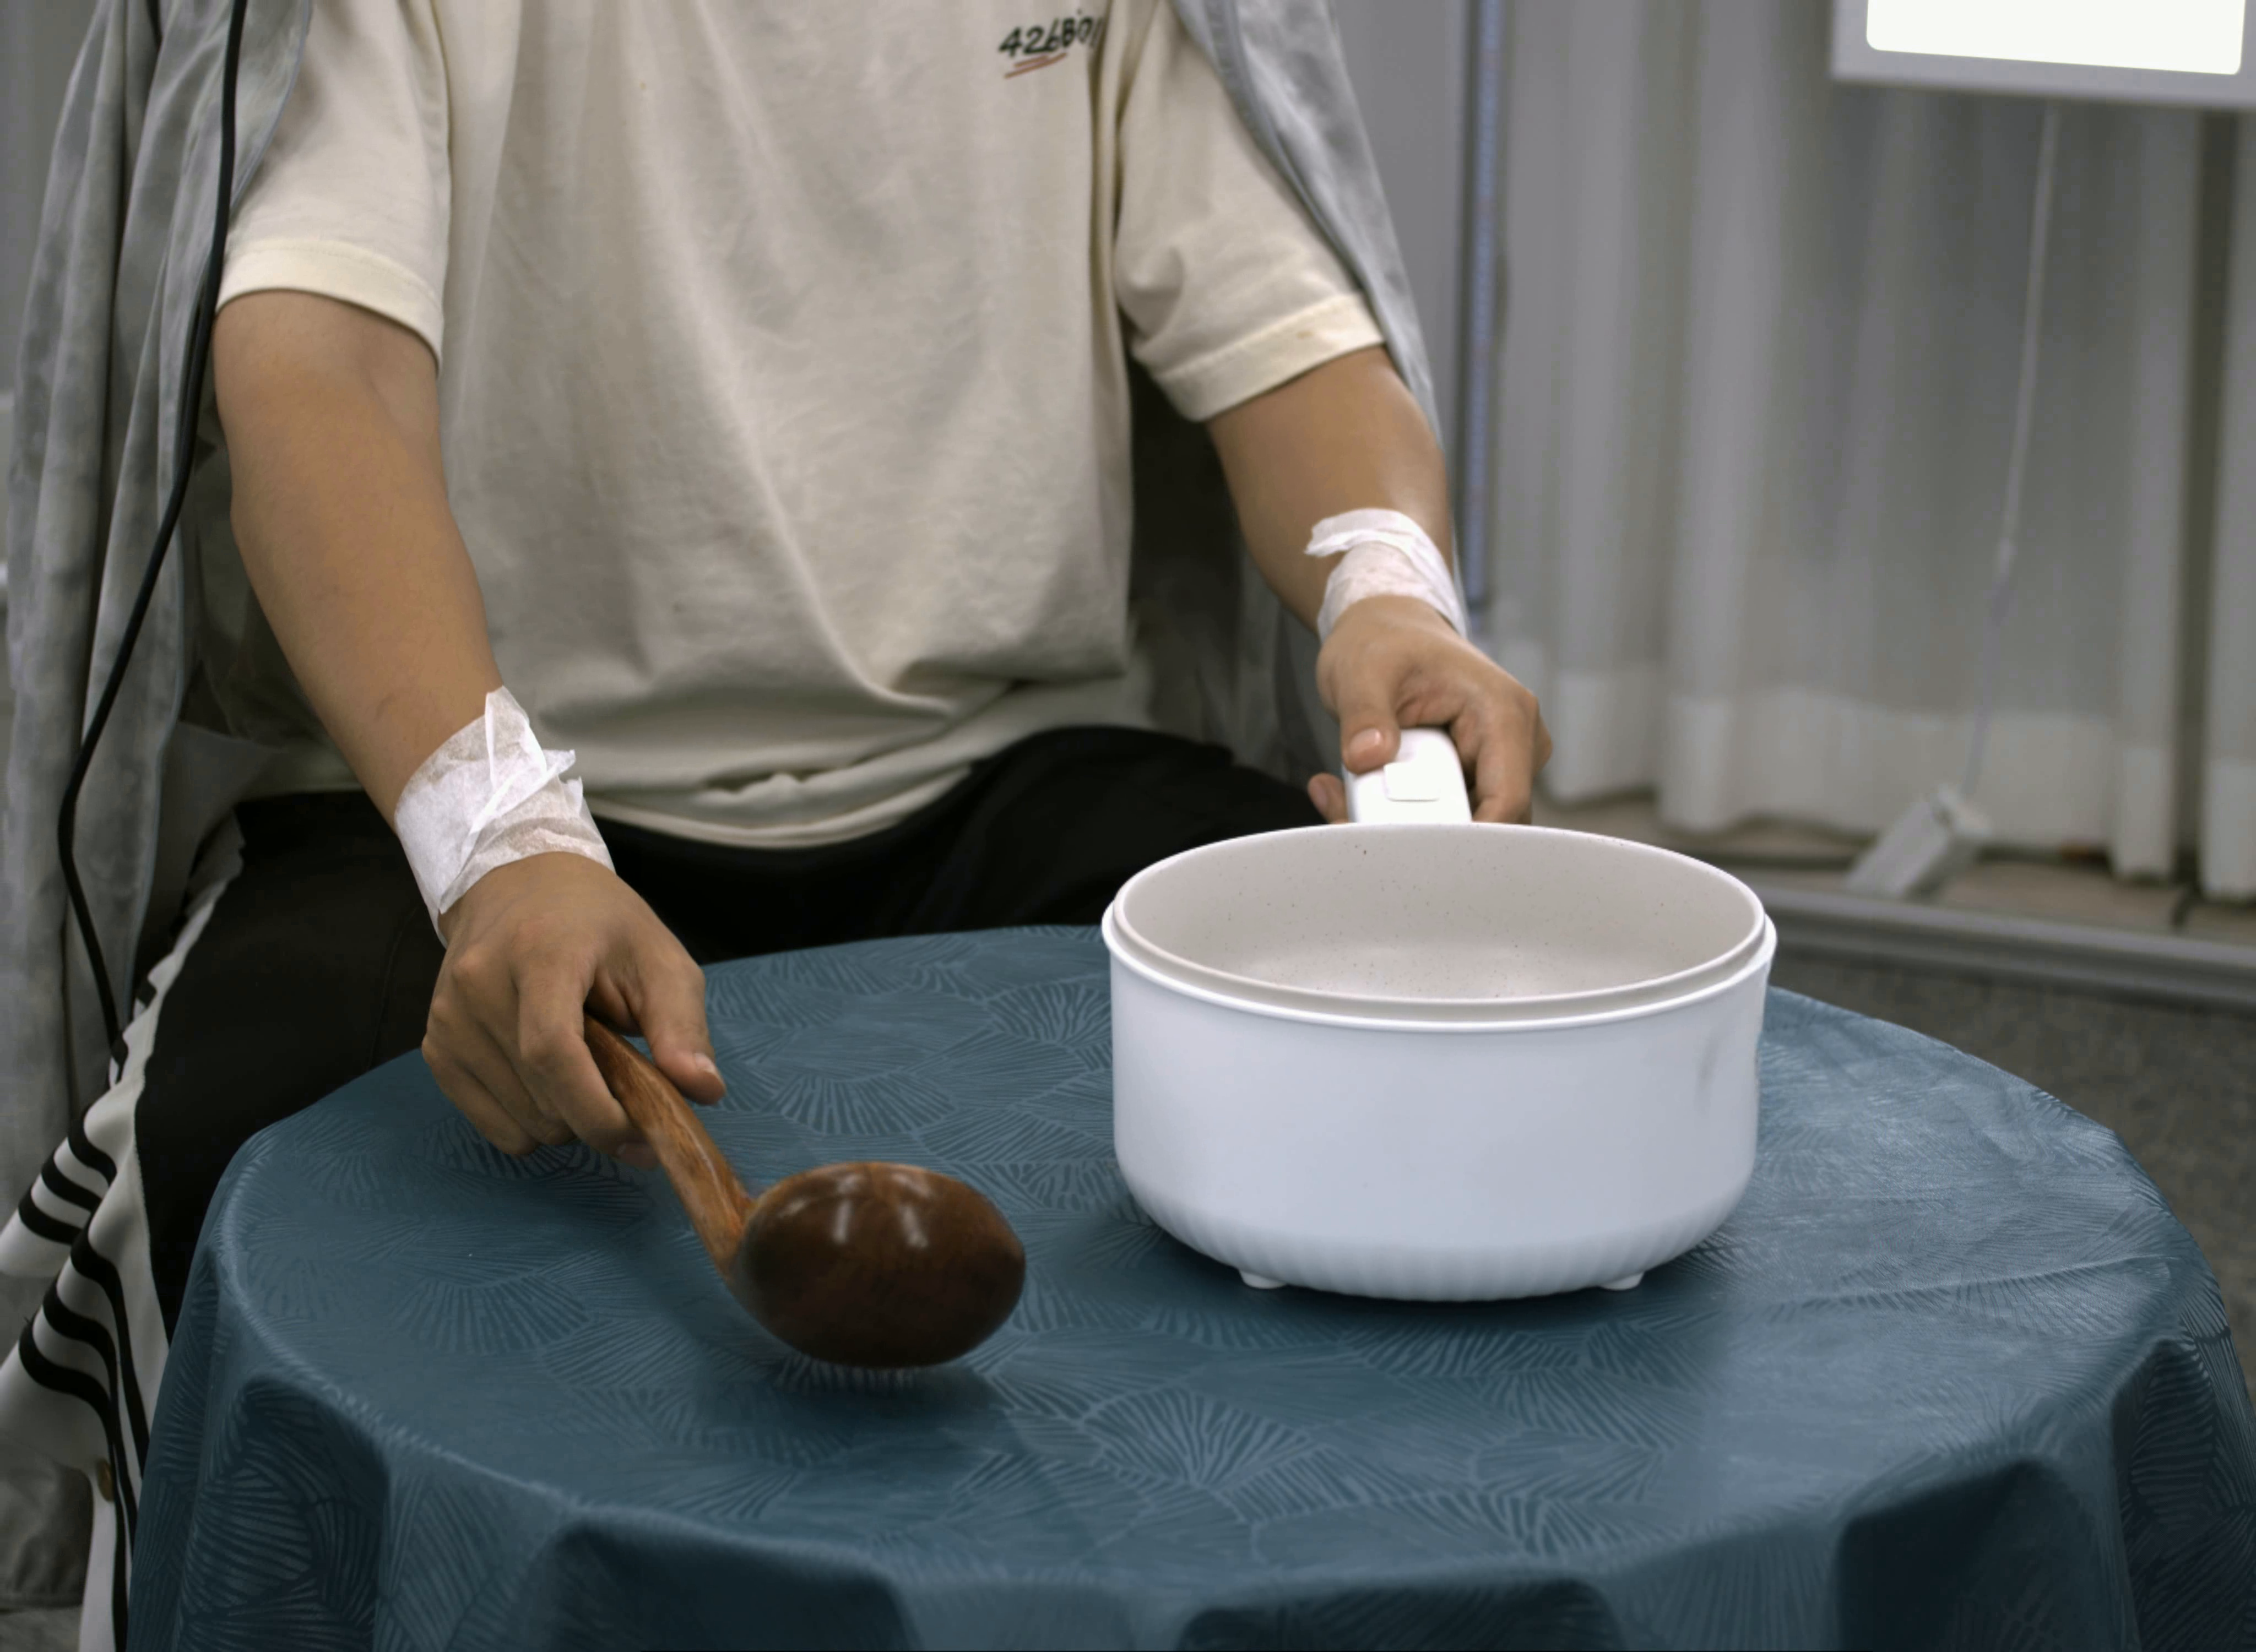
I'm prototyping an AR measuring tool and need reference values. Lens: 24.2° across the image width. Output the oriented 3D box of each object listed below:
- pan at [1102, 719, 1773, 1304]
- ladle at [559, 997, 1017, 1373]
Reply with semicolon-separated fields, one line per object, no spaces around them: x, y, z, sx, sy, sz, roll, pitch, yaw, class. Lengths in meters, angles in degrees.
0.094;0.053;1.659;0.200;0.103;0.353;-1;15;0;pan
-0.107;0.083;1.537;0.076;0.083;0.271;-45;29;2;ladle
